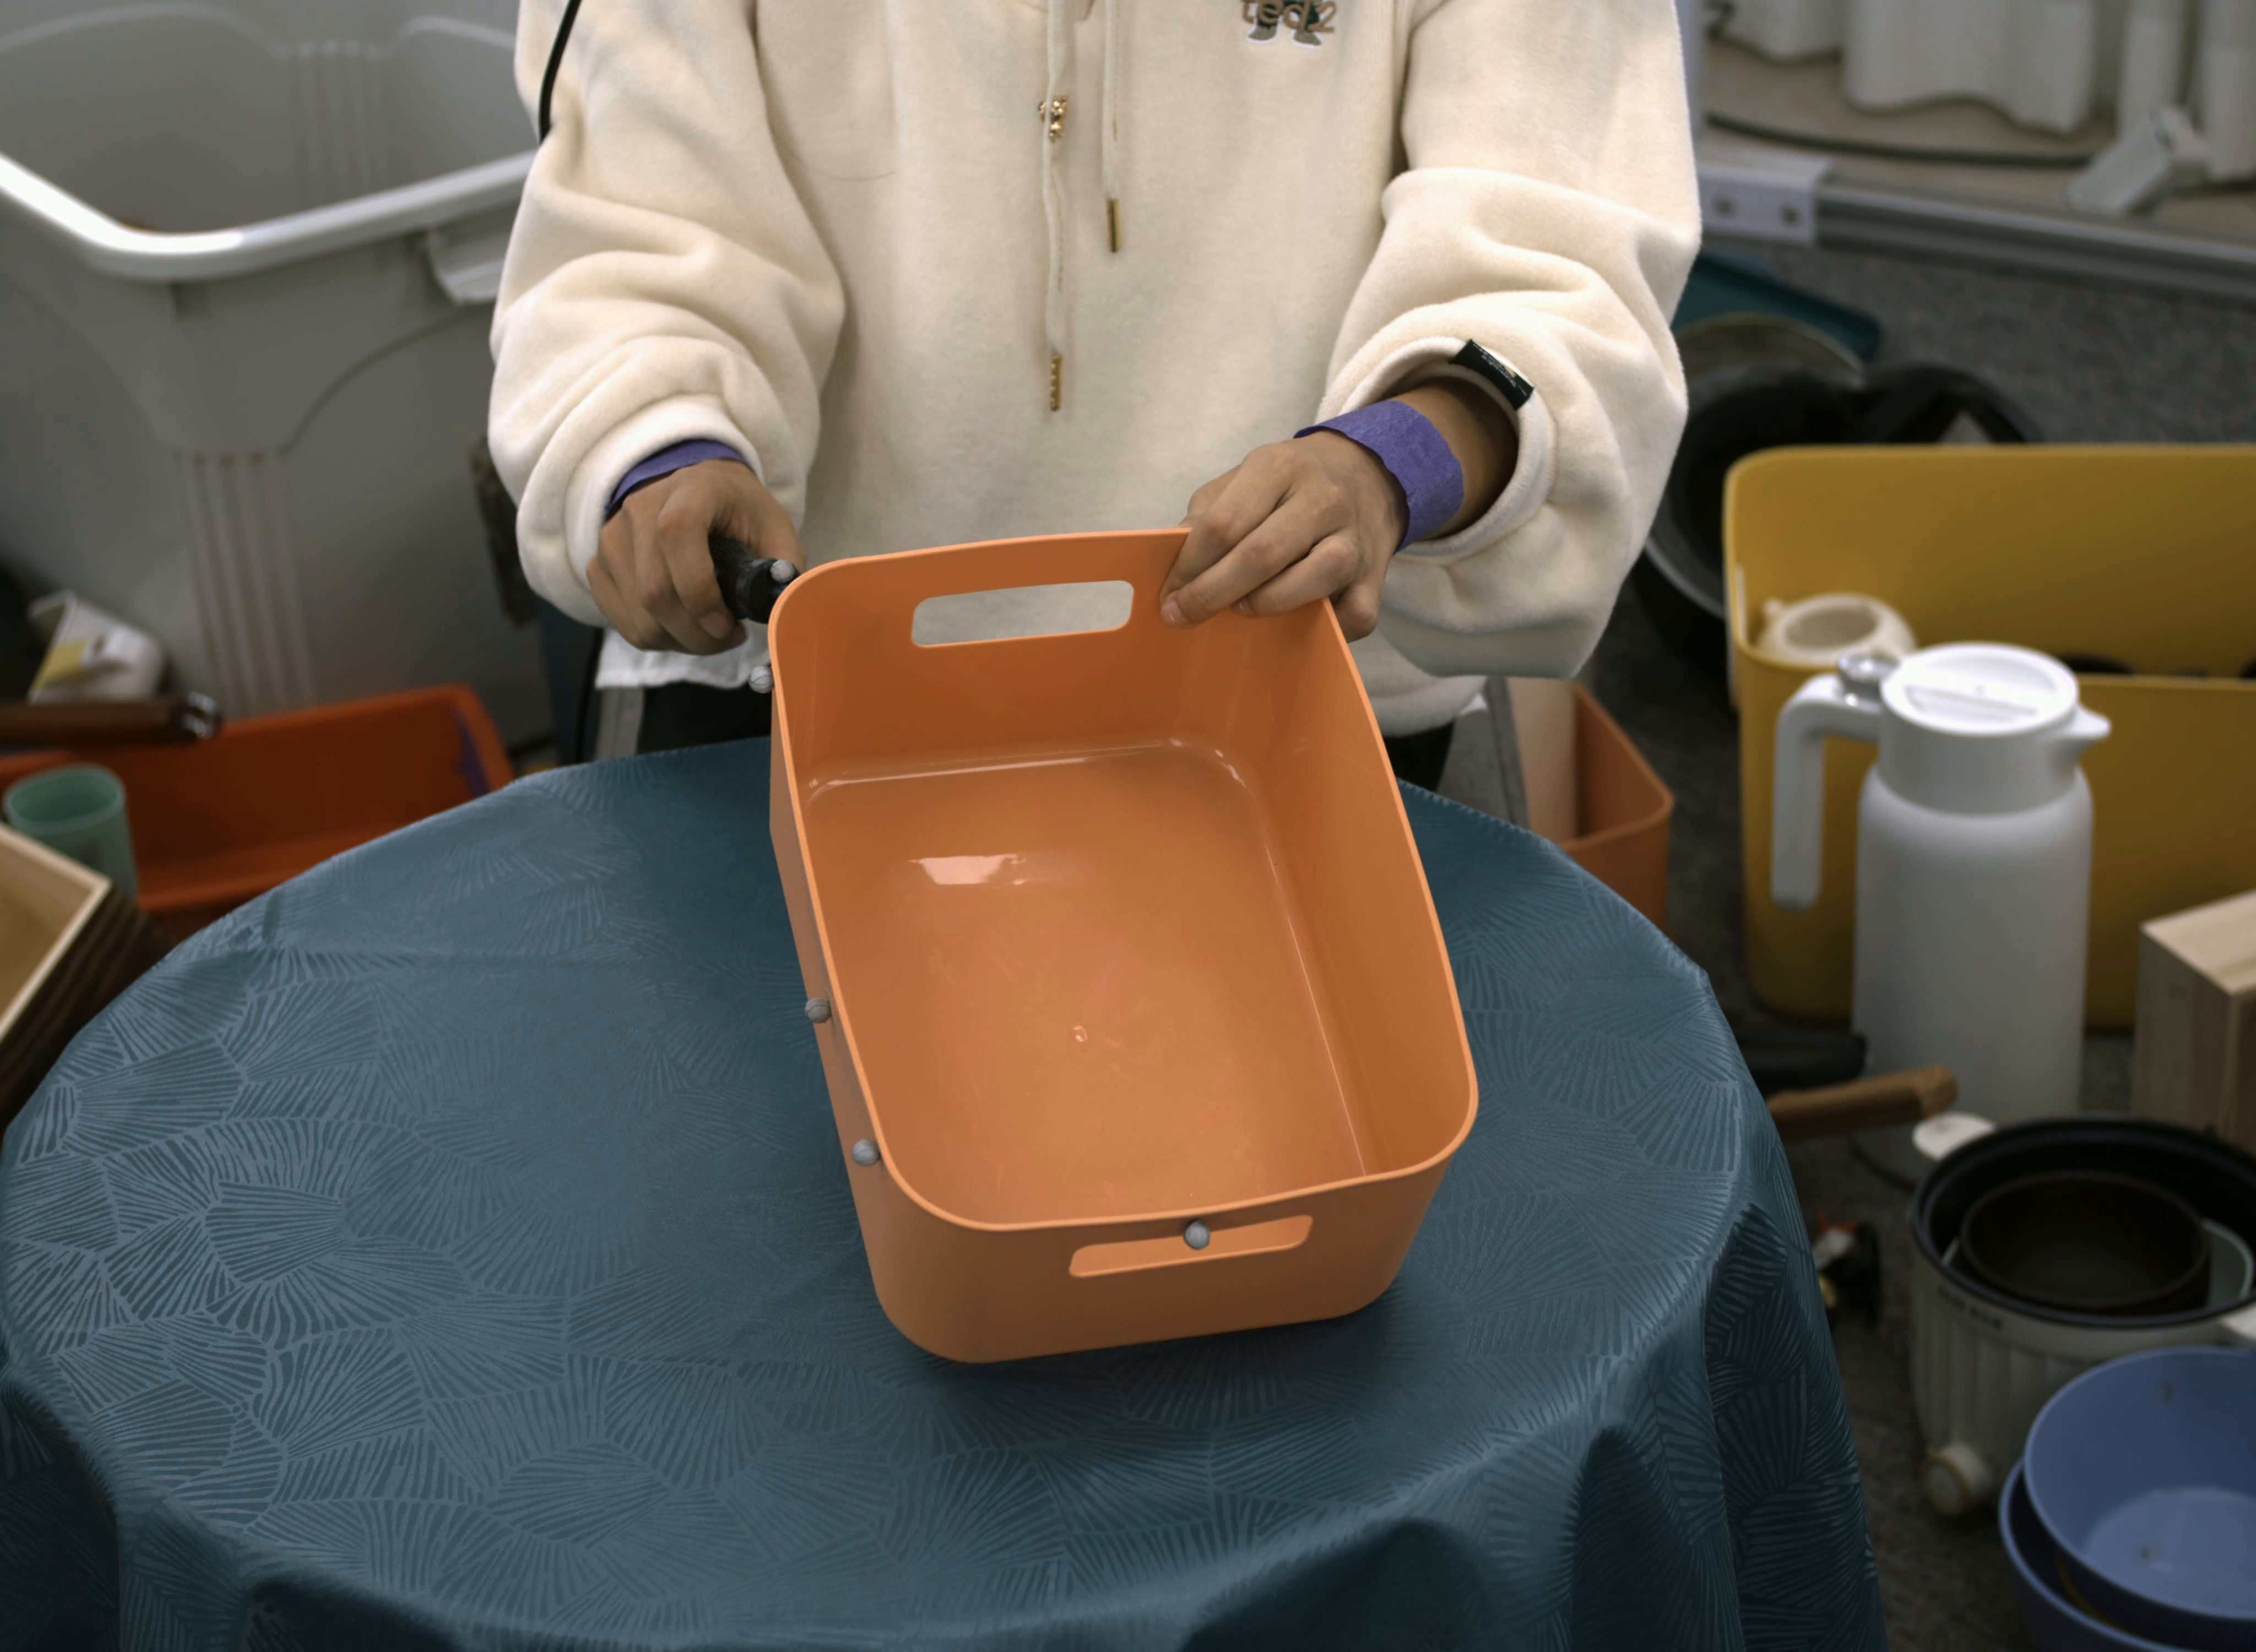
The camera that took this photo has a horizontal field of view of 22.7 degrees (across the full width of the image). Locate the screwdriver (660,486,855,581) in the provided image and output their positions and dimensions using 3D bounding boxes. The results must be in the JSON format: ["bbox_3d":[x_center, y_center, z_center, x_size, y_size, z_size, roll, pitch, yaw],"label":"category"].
[{"bbox_3d":[-0.118,-0.094,1.963,0.031,0.031,0.197,-16,18,-24],"label":"screwdriver"}]

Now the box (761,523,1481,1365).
[{"bbox_3d":[-0.009,0.039,1.810,0.199,0.101,0.278,-6,52,-13],"label":"box"}]
